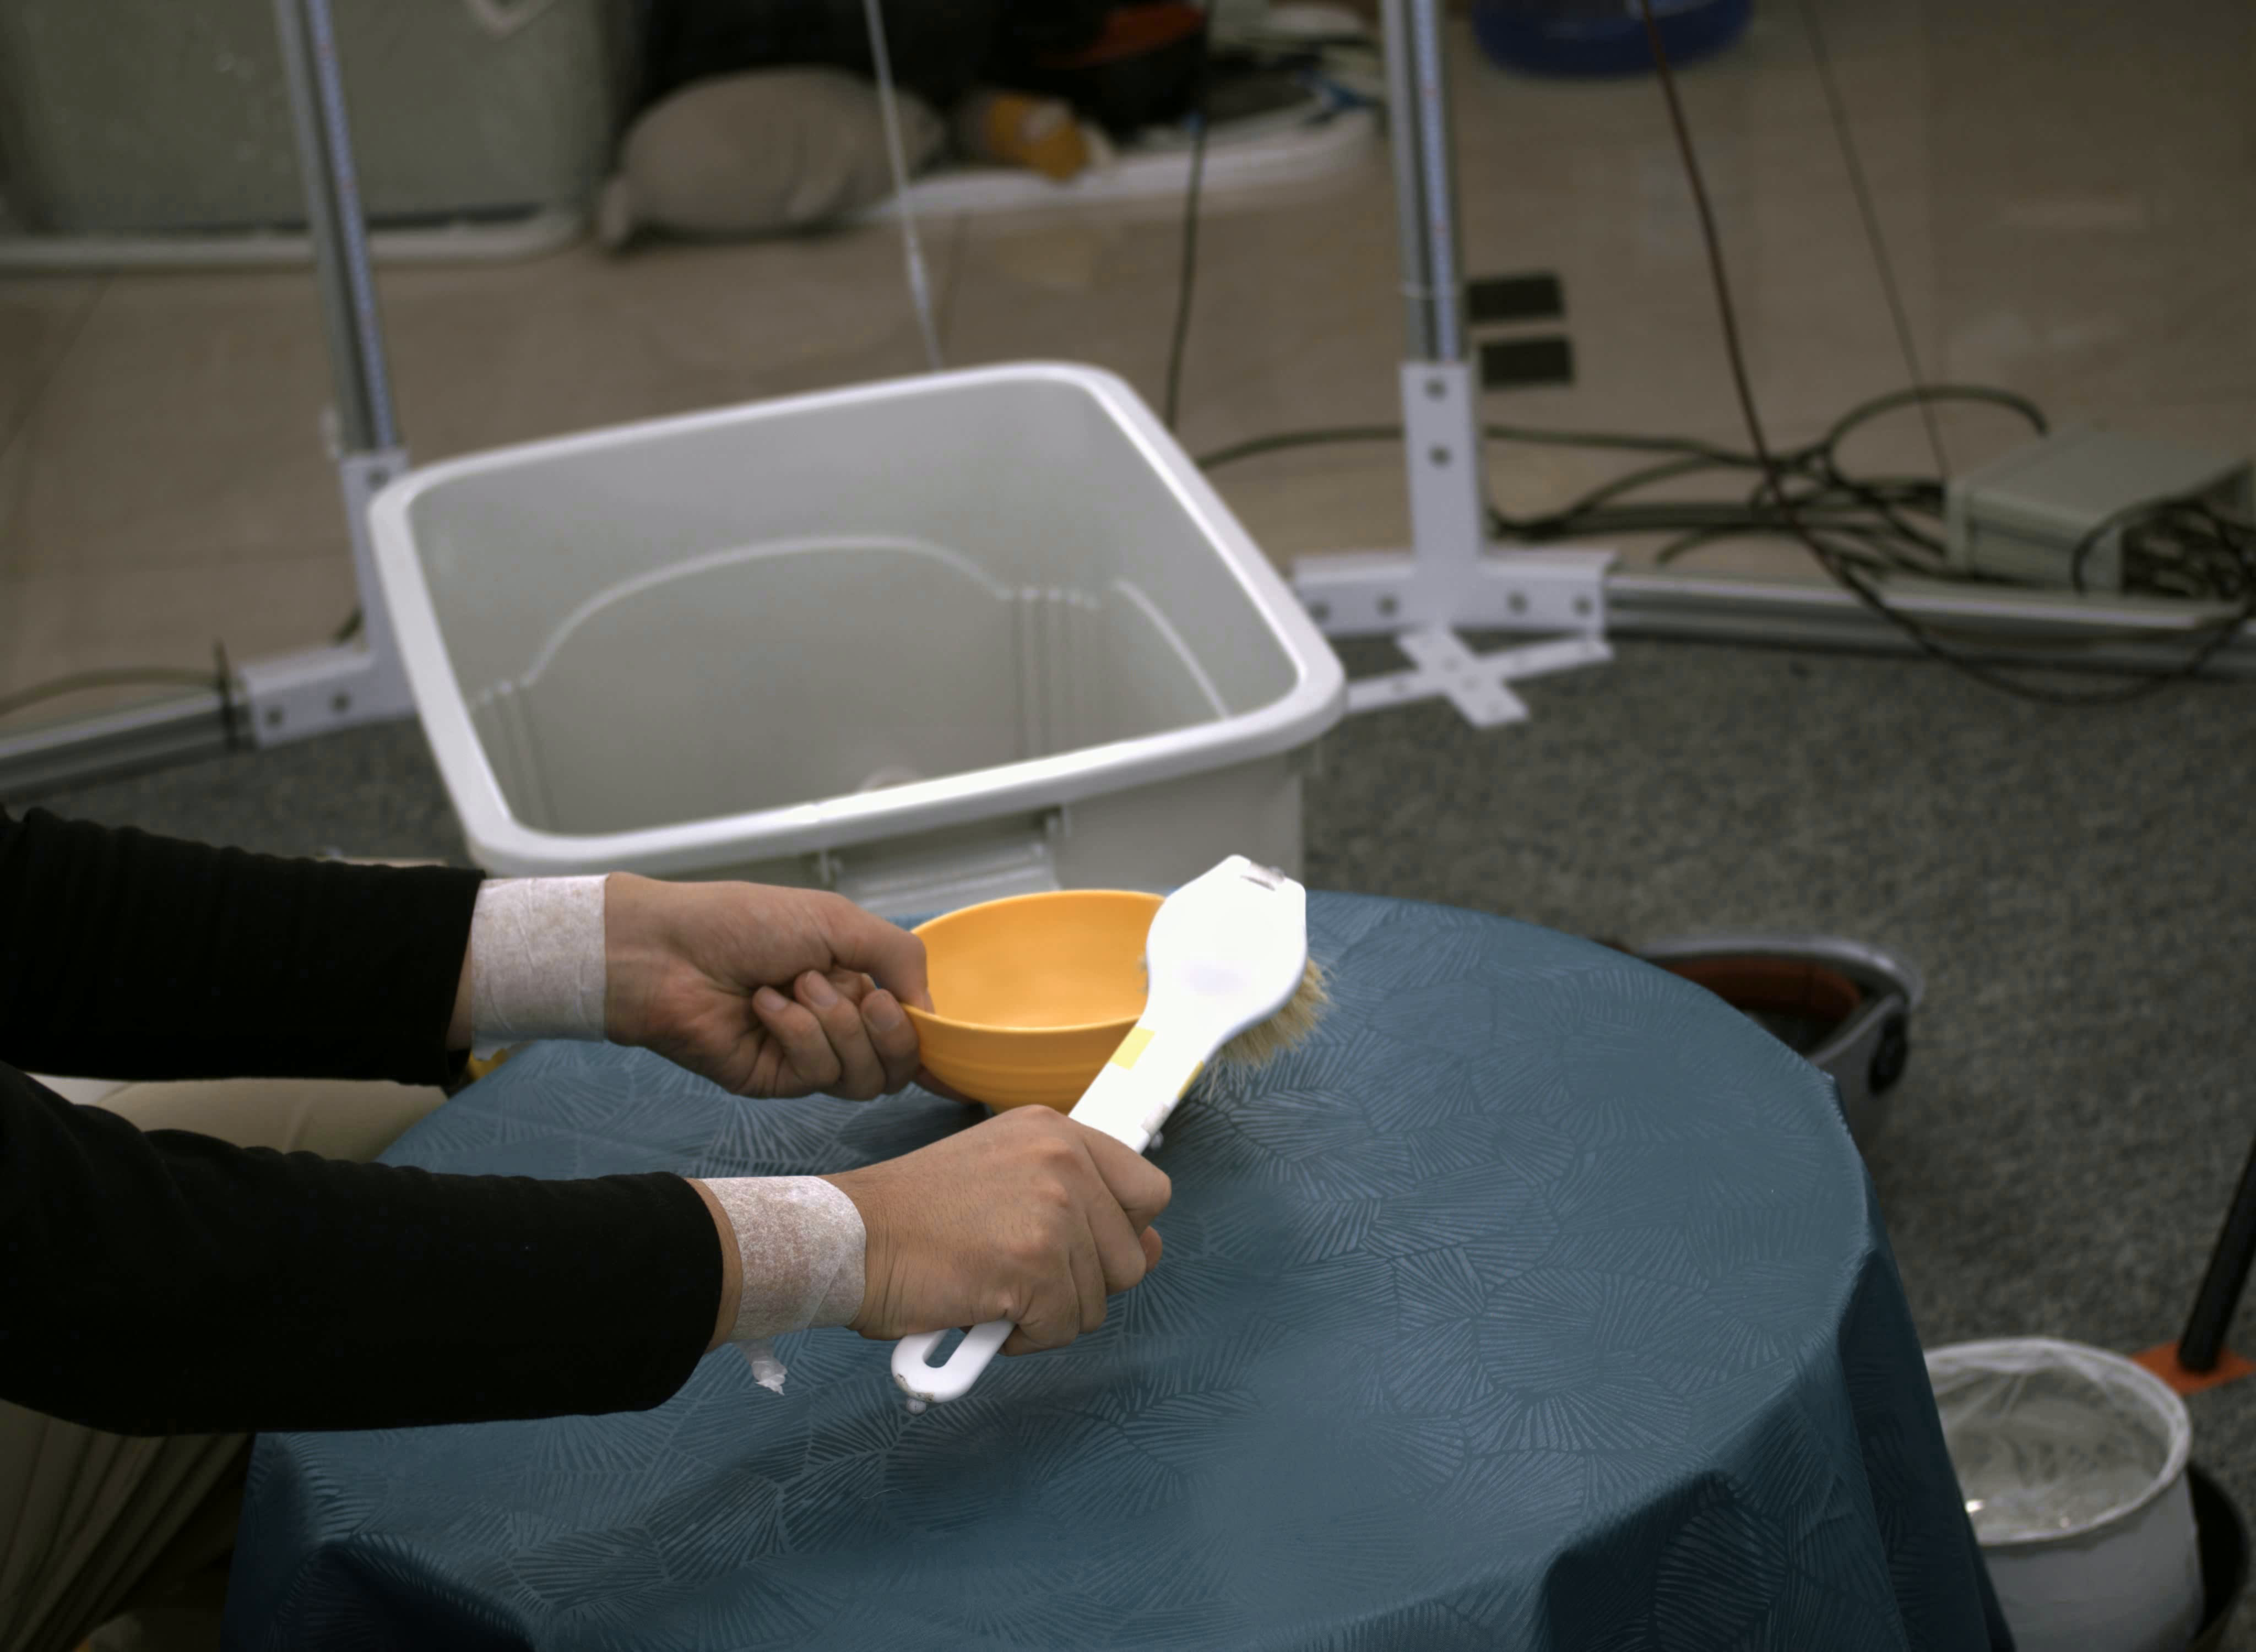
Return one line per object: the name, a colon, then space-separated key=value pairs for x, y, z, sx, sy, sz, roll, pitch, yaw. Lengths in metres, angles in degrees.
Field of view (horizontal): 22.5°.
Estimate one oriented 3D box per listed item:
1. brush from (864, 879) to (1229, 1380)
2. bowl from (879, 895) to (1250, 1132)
brush: x=-0.034 y=0.120 z=2.041 sx=0.068 sy=0.057 sz=0.262 roll=11 pitch=45 yaw=18
bowl: x=-0.022 y=0.080 z=2.207 sx=0.145 sy=0.061 sz=0.143 roll=-6 pitch=21 yaw=2
